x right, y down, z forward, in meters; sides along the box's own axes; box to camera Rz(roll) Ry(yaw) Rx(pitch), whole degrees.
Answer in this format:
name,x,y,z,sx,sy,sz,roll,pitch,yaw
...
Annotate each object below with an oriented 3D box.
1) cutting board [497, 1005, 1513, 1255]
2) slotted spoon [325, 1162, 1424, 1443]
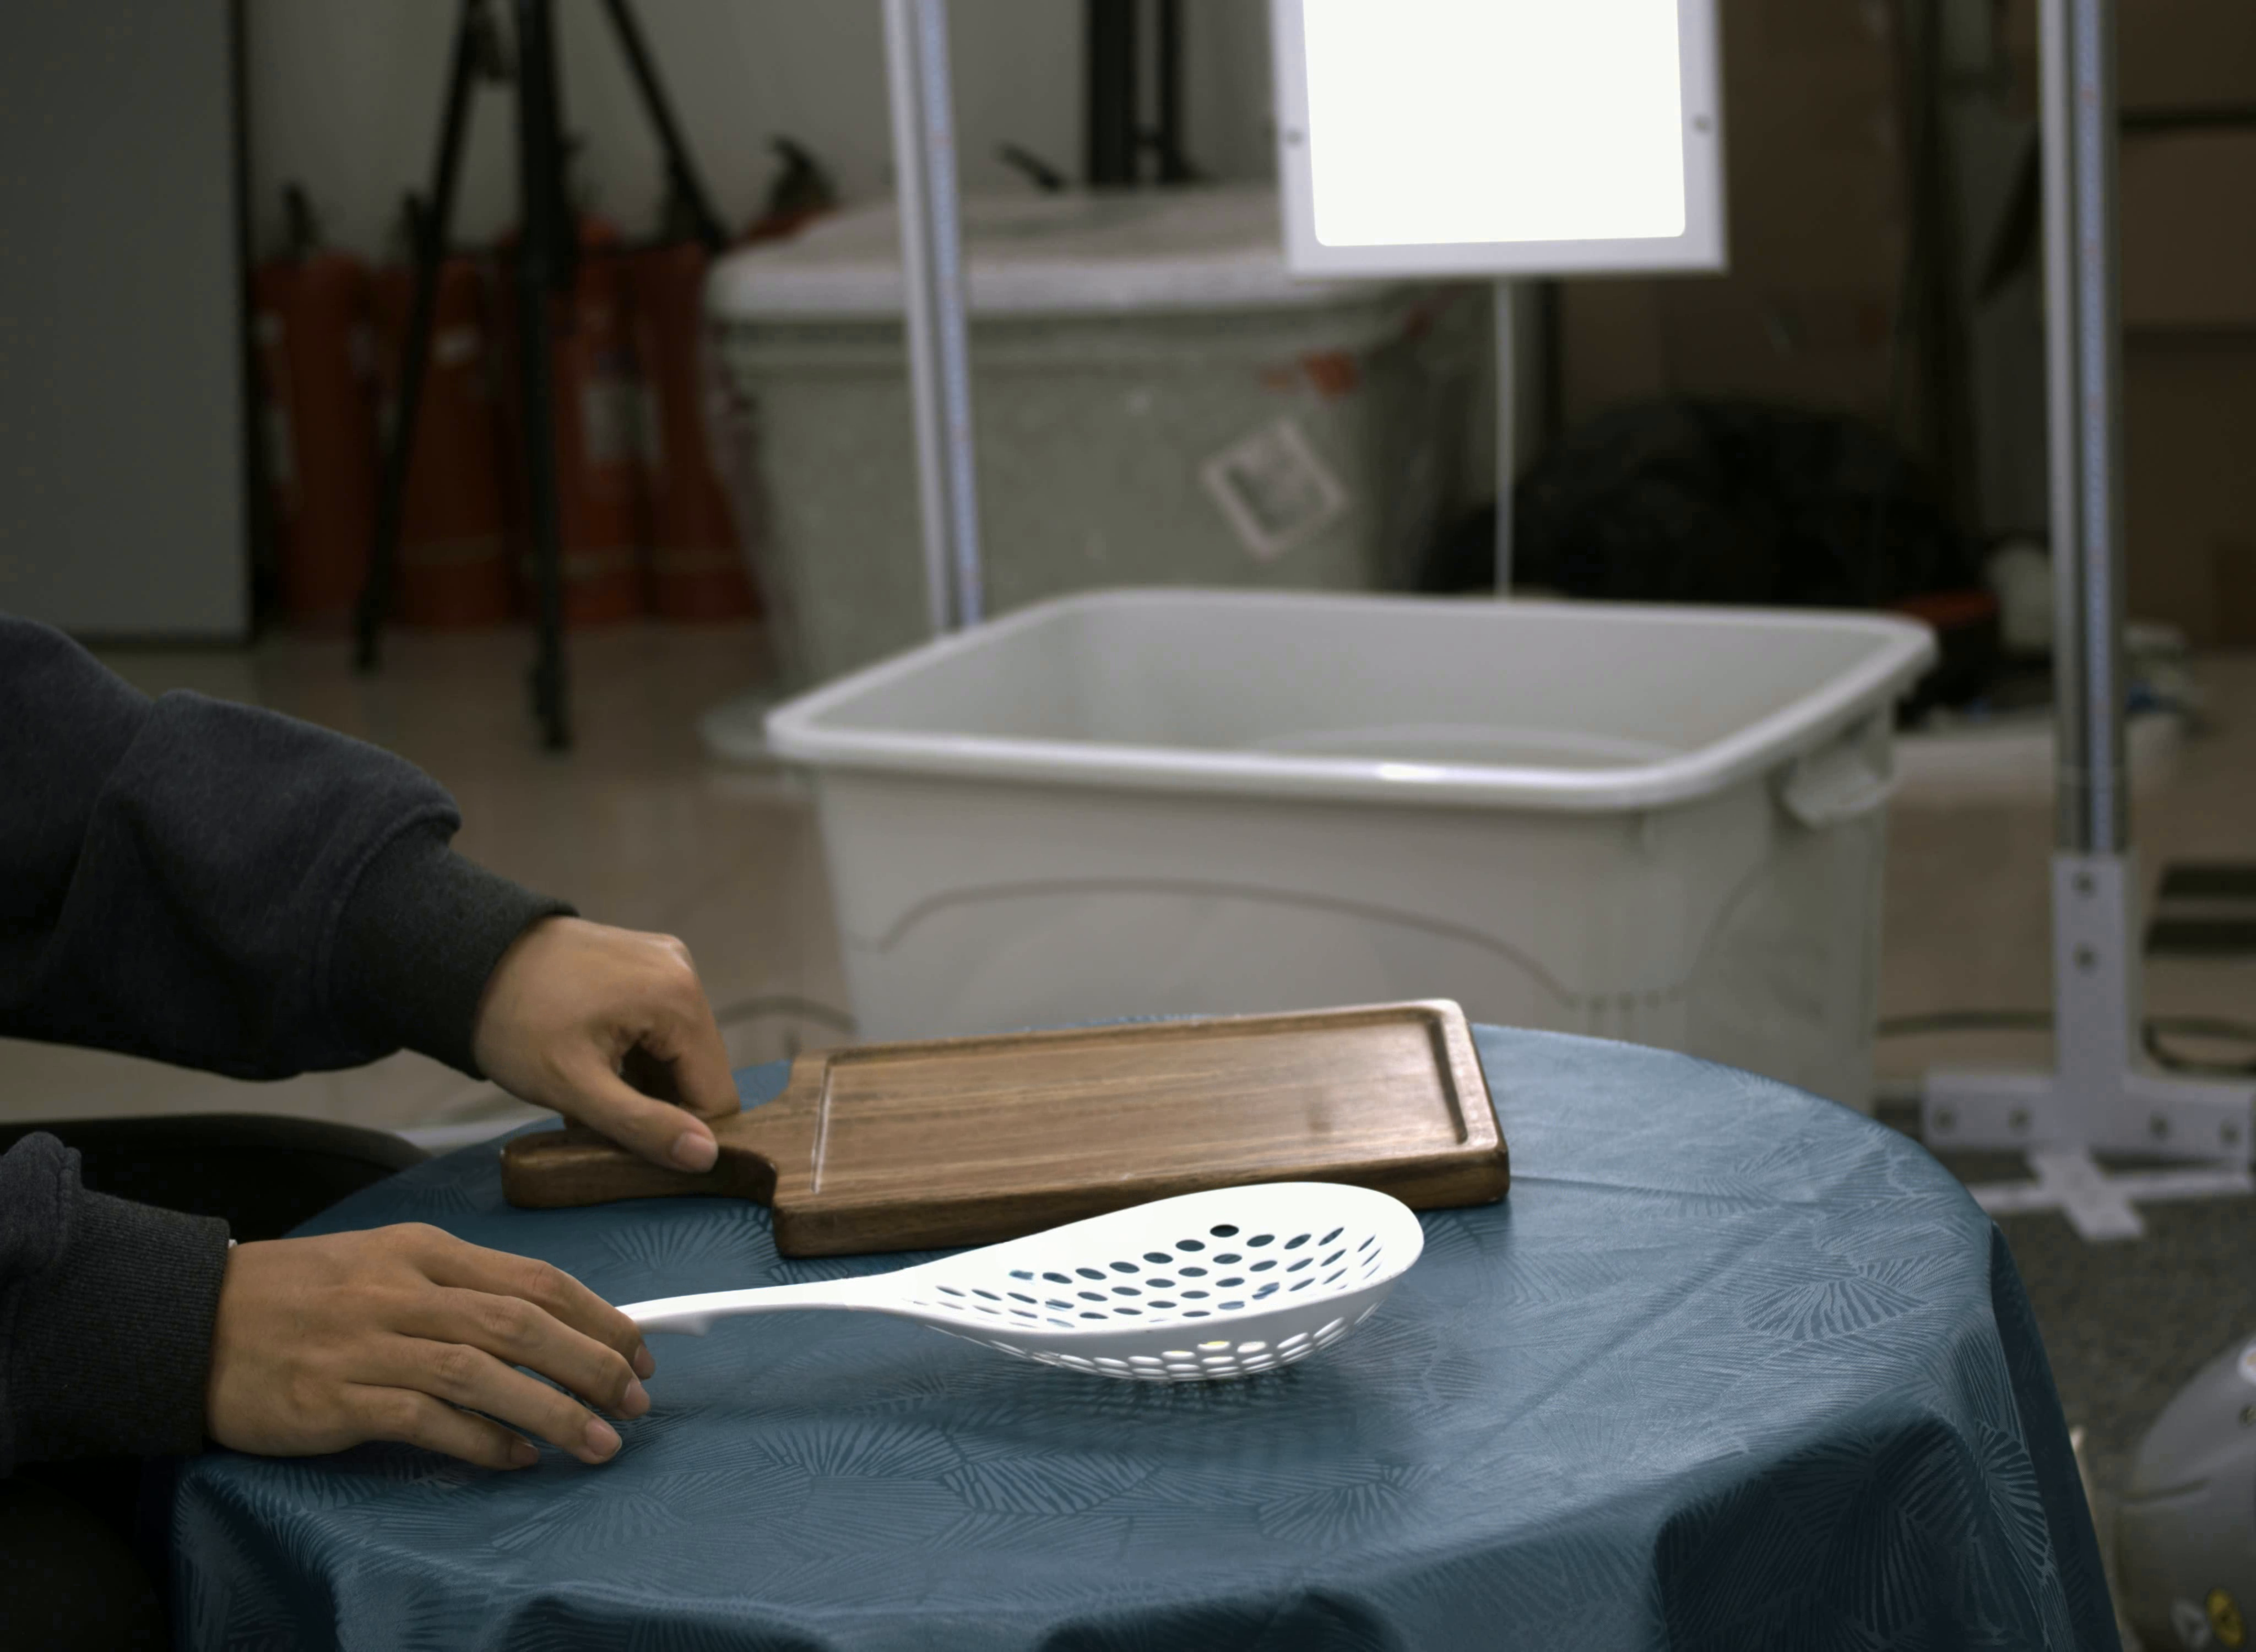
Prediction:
name,x,y,z,sx,sy,sz,roll,pitch,yaw
cutting board,-0.047,0.109,1.944,0.351,0.023,0.200,-4,13,2
slotted spoon,-0.080,0.155,1.720,0.348,0.050,0.136,-4,14,4
